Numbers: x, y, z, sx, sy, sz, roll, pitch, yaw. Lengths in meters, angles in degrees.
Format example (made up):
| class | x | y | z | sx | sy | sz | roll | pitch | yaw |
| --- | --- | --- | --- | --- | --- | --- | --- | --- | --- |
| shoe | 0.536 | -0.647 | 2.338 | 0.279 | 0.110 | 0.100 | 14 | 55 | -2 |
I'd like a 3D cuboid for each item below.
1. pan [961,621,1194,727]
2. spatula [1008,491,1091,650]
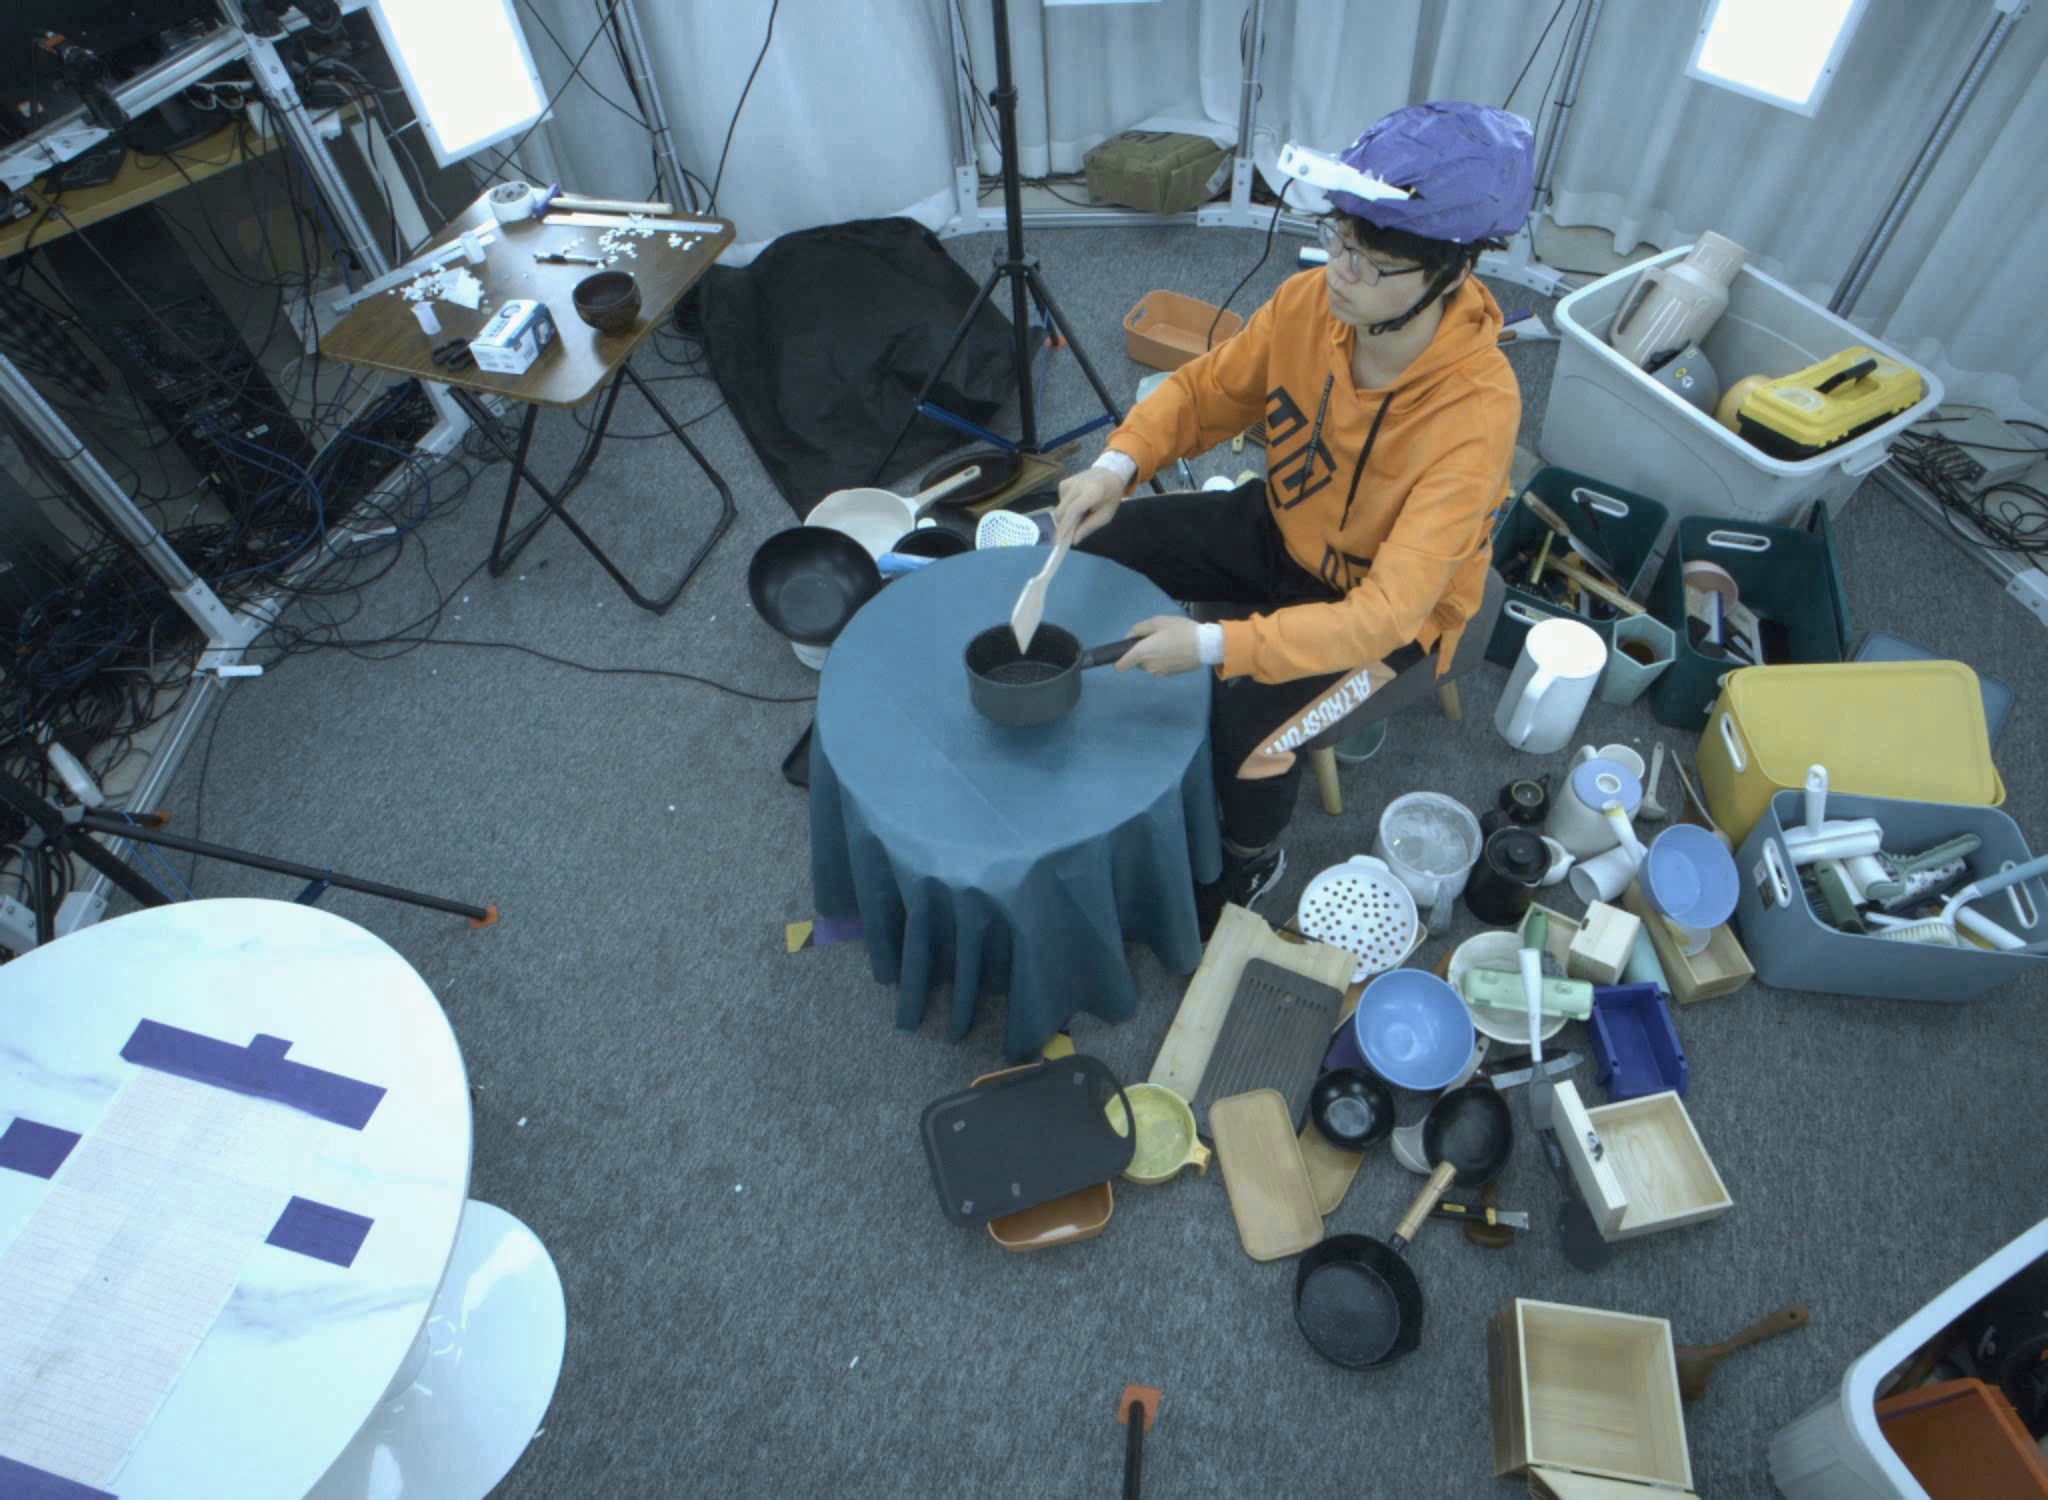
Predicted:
| class | x | y | z | sx | sy | sz | roll | pitch | yaw |
| --- | --- | --- | --- | --- | --- | --- | --- | --- | --- |
| pan | 0.078 | -0.118 | 1.757 | 0.329 | 0.087 | 0.170 | -5 | 39 | 0 |
| spatula | 0.040 | -0.270 | 1.759 | 0.010 | 0.073 | 0.293 | 10 | 55 | 26 |
